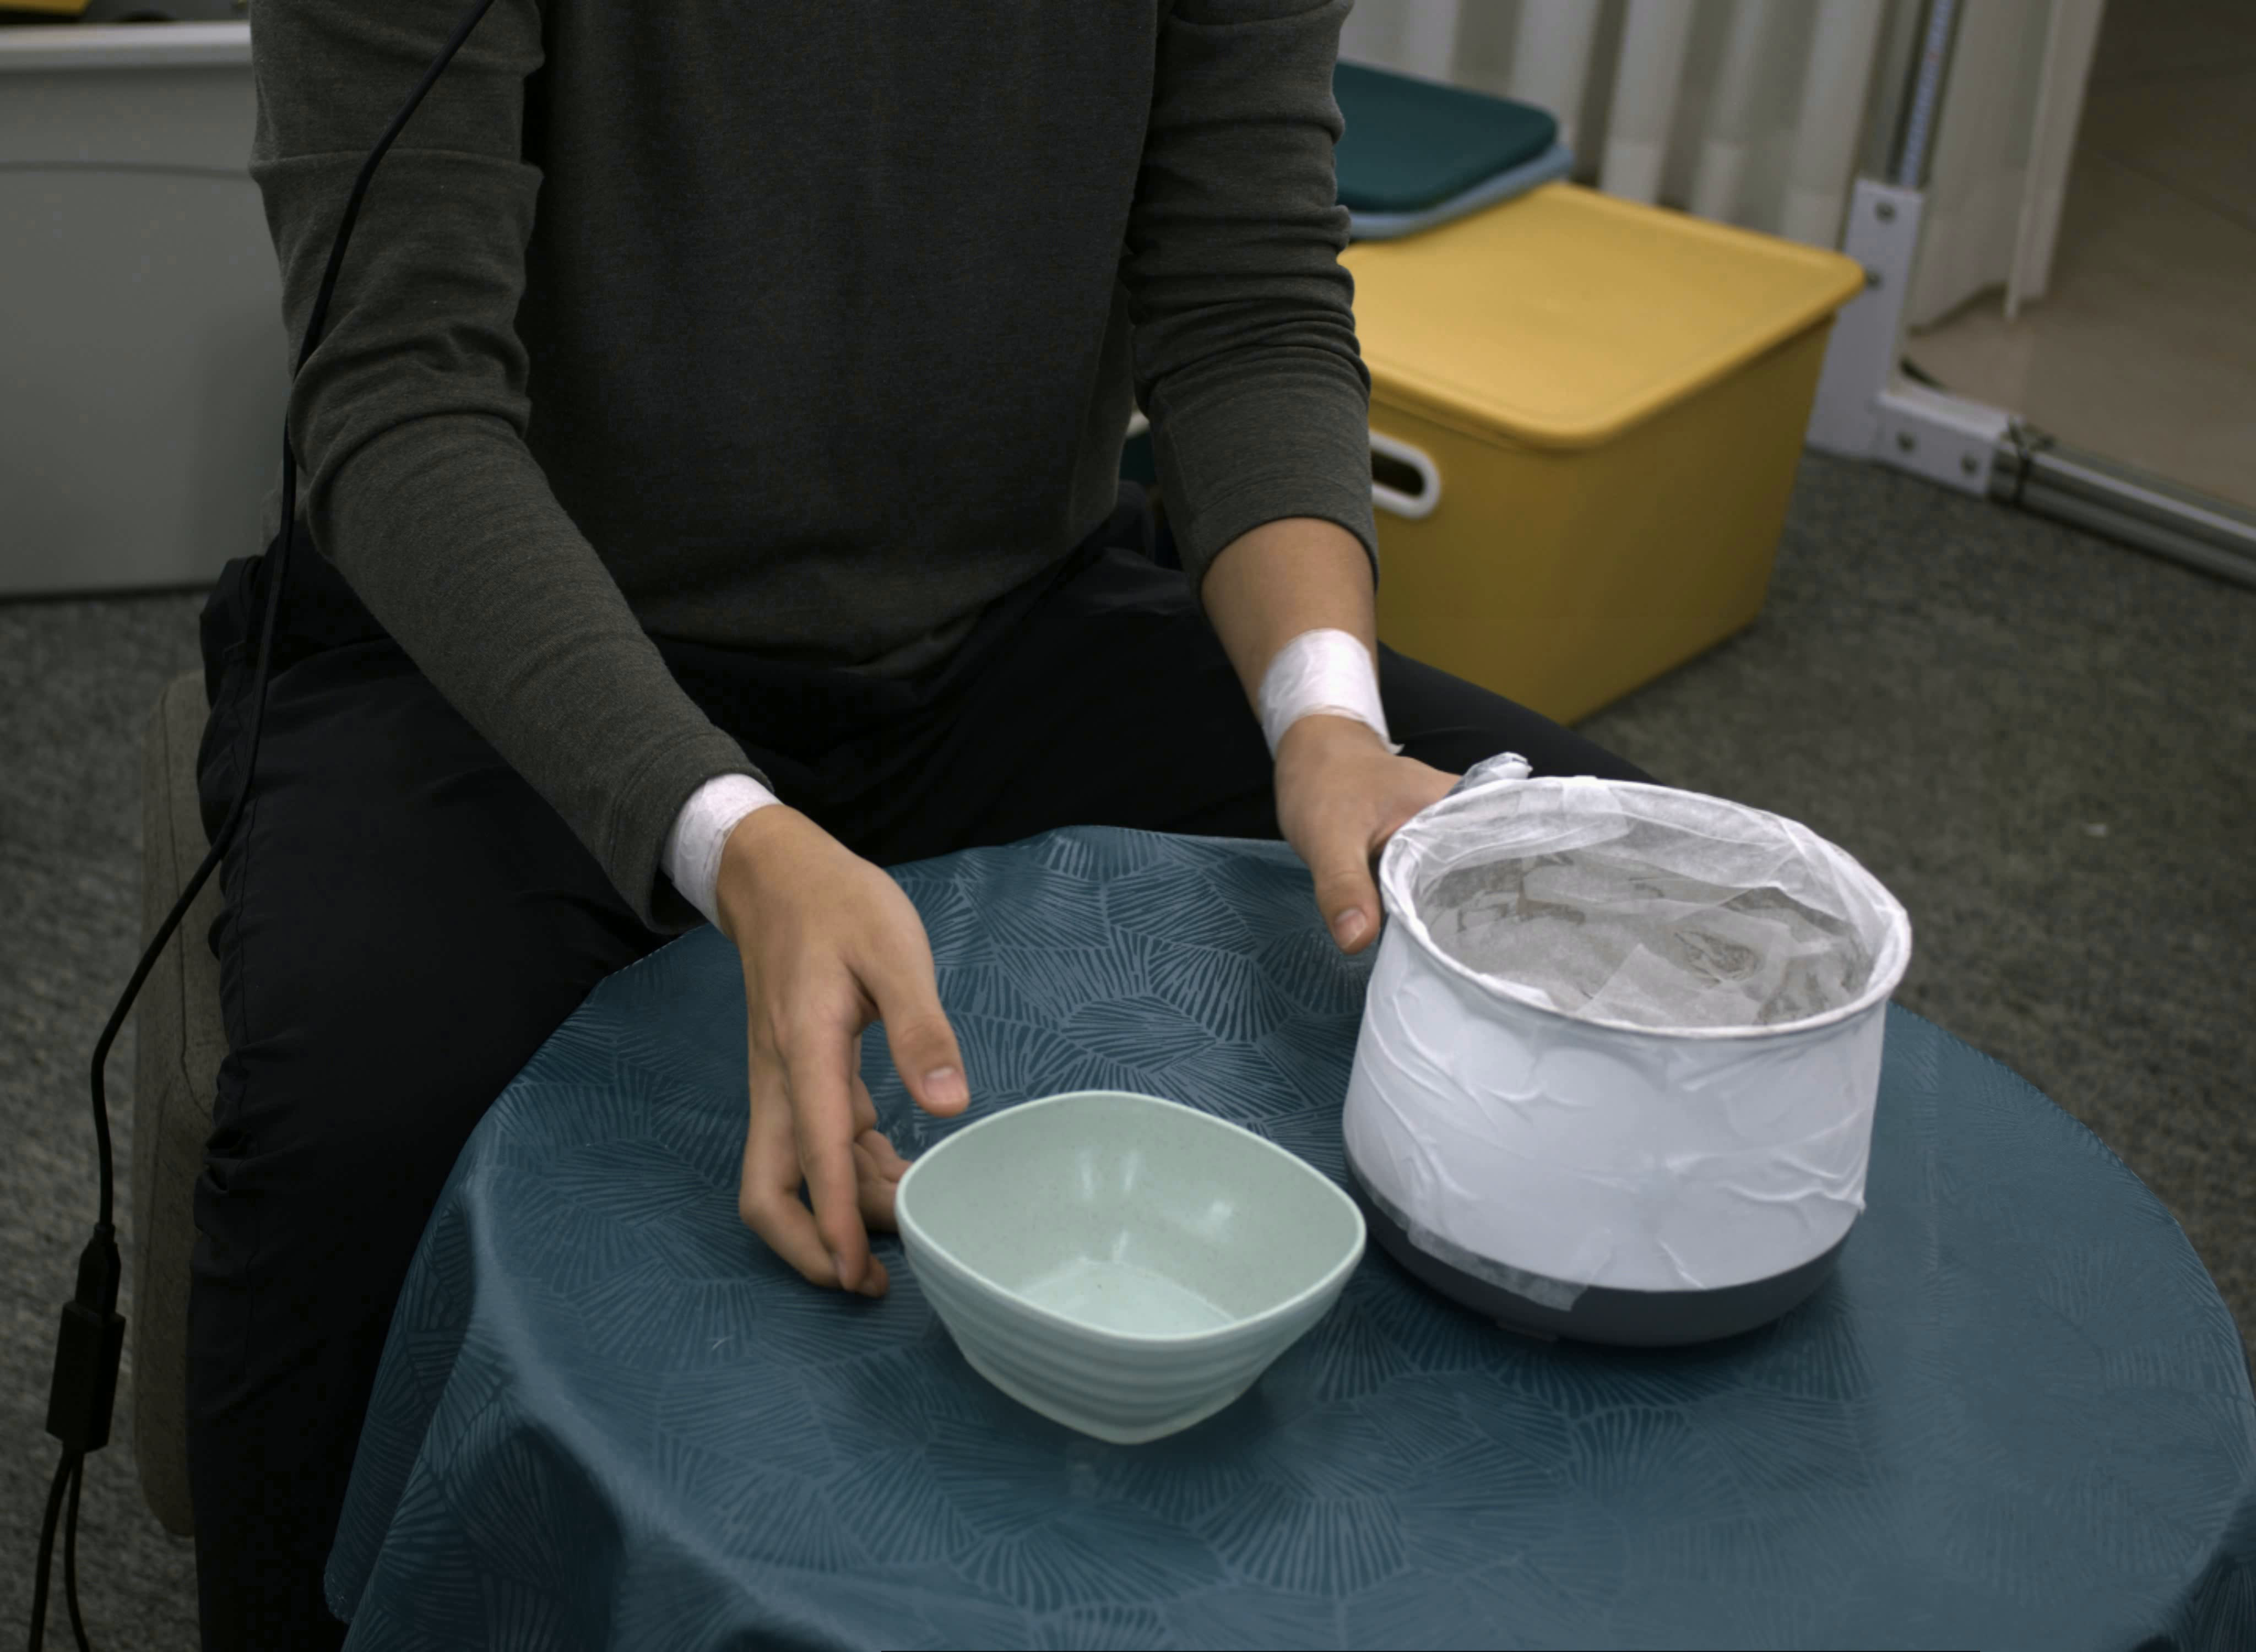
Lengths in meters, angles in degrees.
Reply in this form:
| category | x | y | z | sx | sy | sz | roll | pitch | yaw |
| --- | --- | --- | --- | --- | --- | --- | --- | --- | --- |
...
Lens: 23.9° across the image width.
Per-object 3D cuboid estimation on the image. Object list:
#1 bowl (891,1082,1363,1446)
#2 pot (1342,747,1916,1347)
| category | x | y | z | sx | sy | sz | roll | pitch | yaw |
| --- | --- | --- | --- | --- | --- | --- | --- | --- | --- |
| bowl | -0.003 | 0.146 | 1.698 | 0.151 | 0.058 | 0.152 | 6 | 29 | -4 |
| pot | 0.152 | 0.067 | 1.799 | 0.177 | 0.136 | 0.236 | -6 | 30 | -24 |
